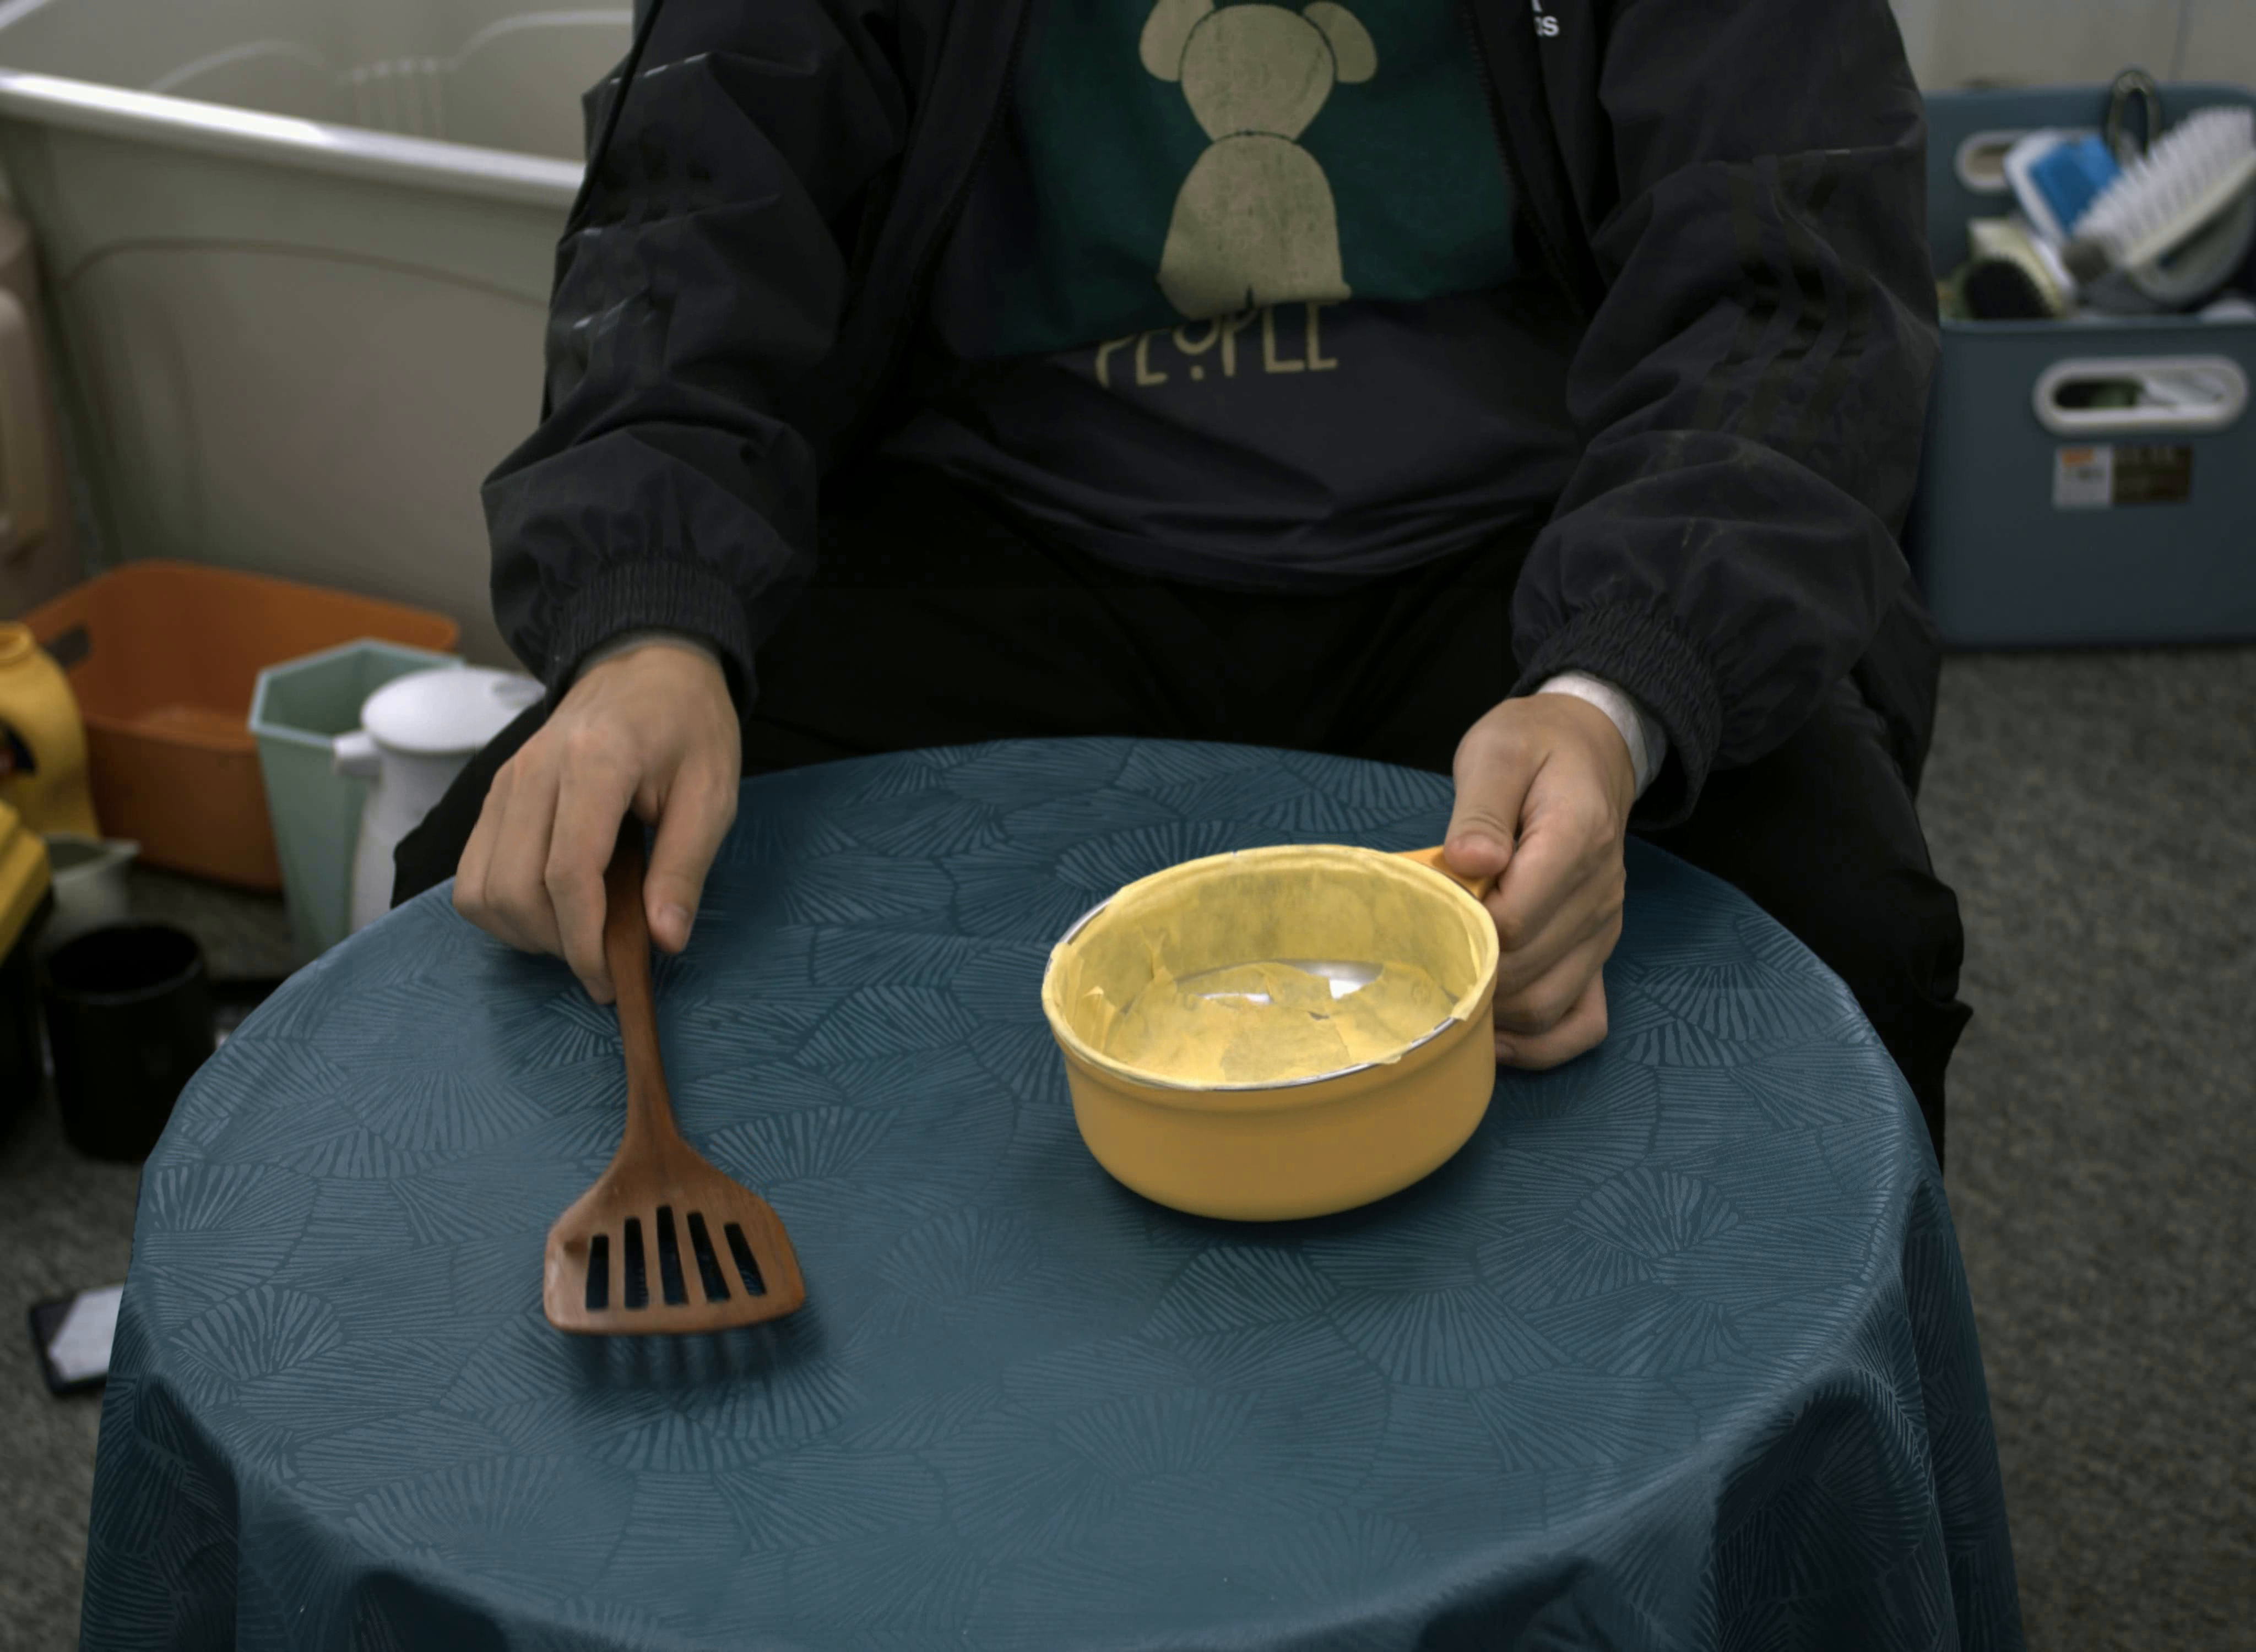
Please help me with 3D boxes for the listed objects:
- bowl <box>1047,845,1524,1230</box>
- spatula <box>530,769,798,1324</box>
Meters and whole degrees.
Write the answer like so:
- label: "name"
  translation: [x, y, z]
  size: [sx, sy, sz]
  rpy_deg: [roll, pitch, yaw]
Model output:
- label: "bowl"
  translation: [0.063, 0.068, 1.875]
  size: [0.152, 0.073, 0.181]
  rpy_deg: [19, 39, 40]
- label: "spatula"
  translation: [-0.165, 0.073, 1.928]
  size: [0.085, 0.024, 0.392]
  rpy_deg: [-2, 28, -6]
